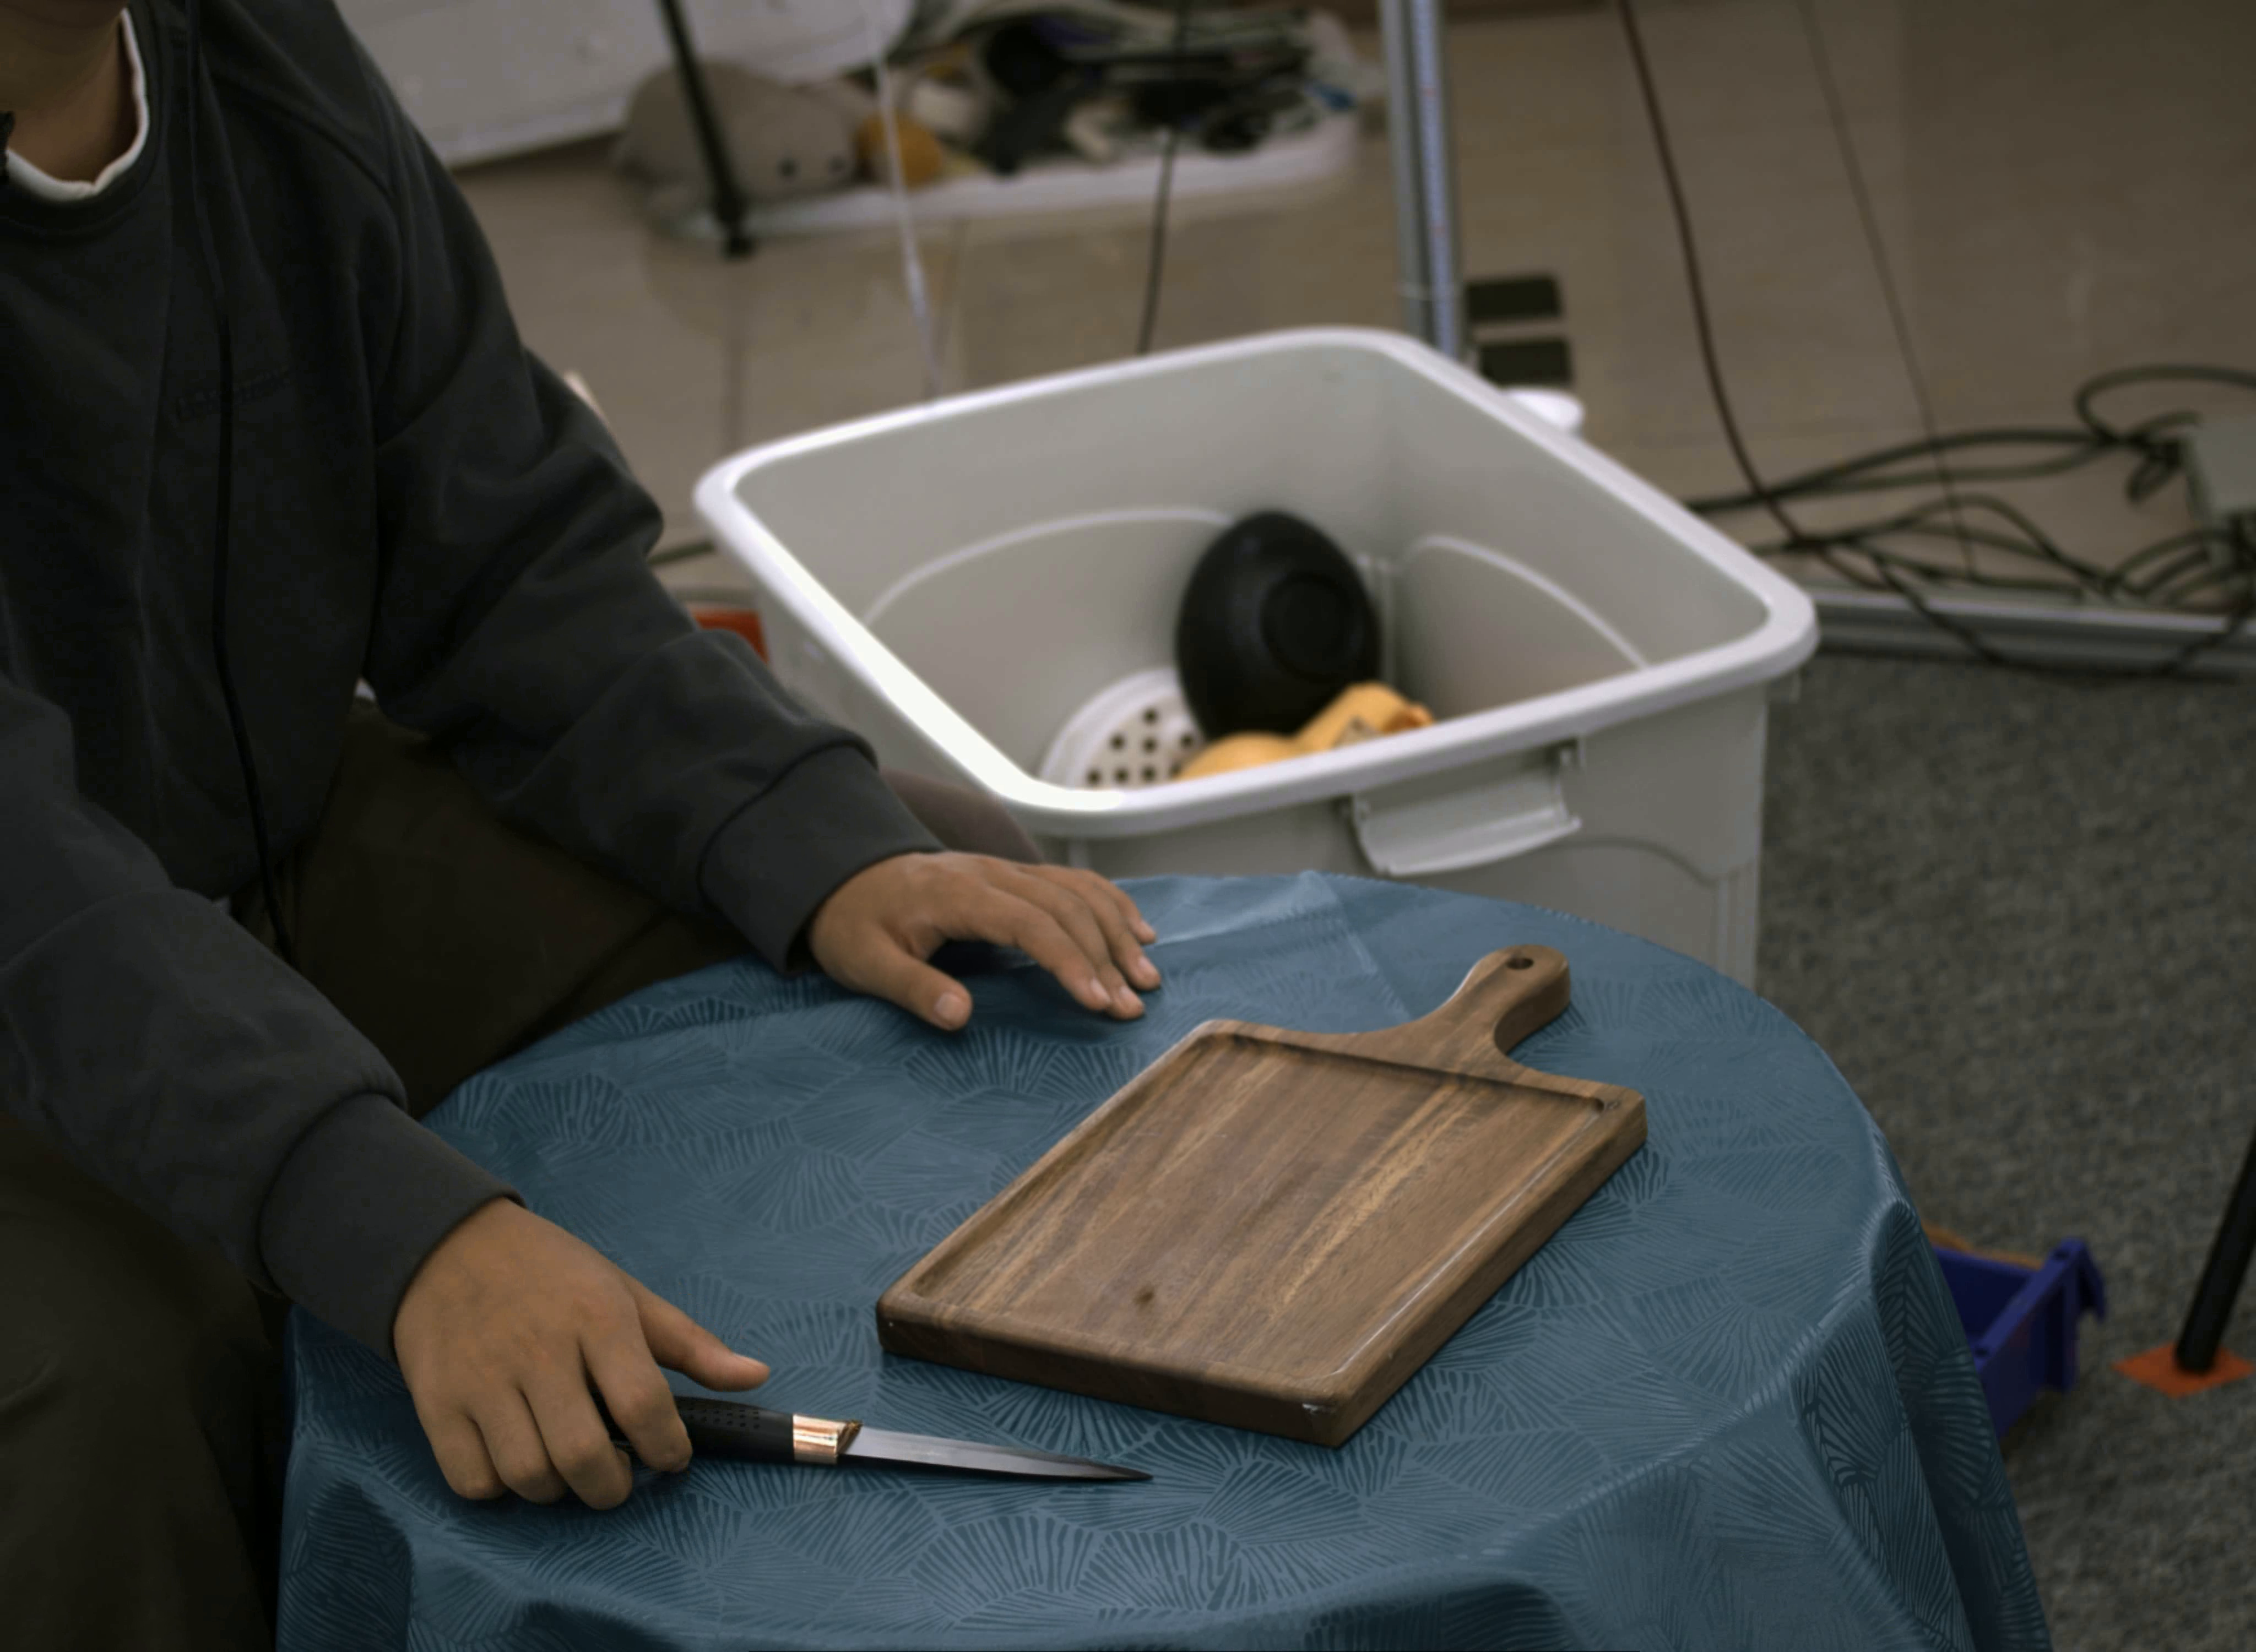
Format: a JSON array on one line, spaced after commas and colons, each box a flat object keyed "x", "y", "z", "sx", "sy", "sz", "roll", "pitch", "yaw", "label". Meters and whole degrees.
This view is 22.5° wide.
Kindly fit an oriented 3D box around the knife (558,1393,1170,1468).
[{"x": -0.094, "y": 0.215, "z": 1.994, "sx": 0.225, "sy": 0.017, "sz": 0.026, "roll": 3, "pitch": 20, "yaw": 18, "label": "knife"}]

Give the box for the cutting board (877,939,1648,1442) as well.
[{"x": 0.078, "y": 0.124, "z": 2.135, "sx": 0.200, "sy": 0.023, "sz": 0.348, "roll": 9, "pitch": 29, "yaw": 30, "label": "cutting board"}]
